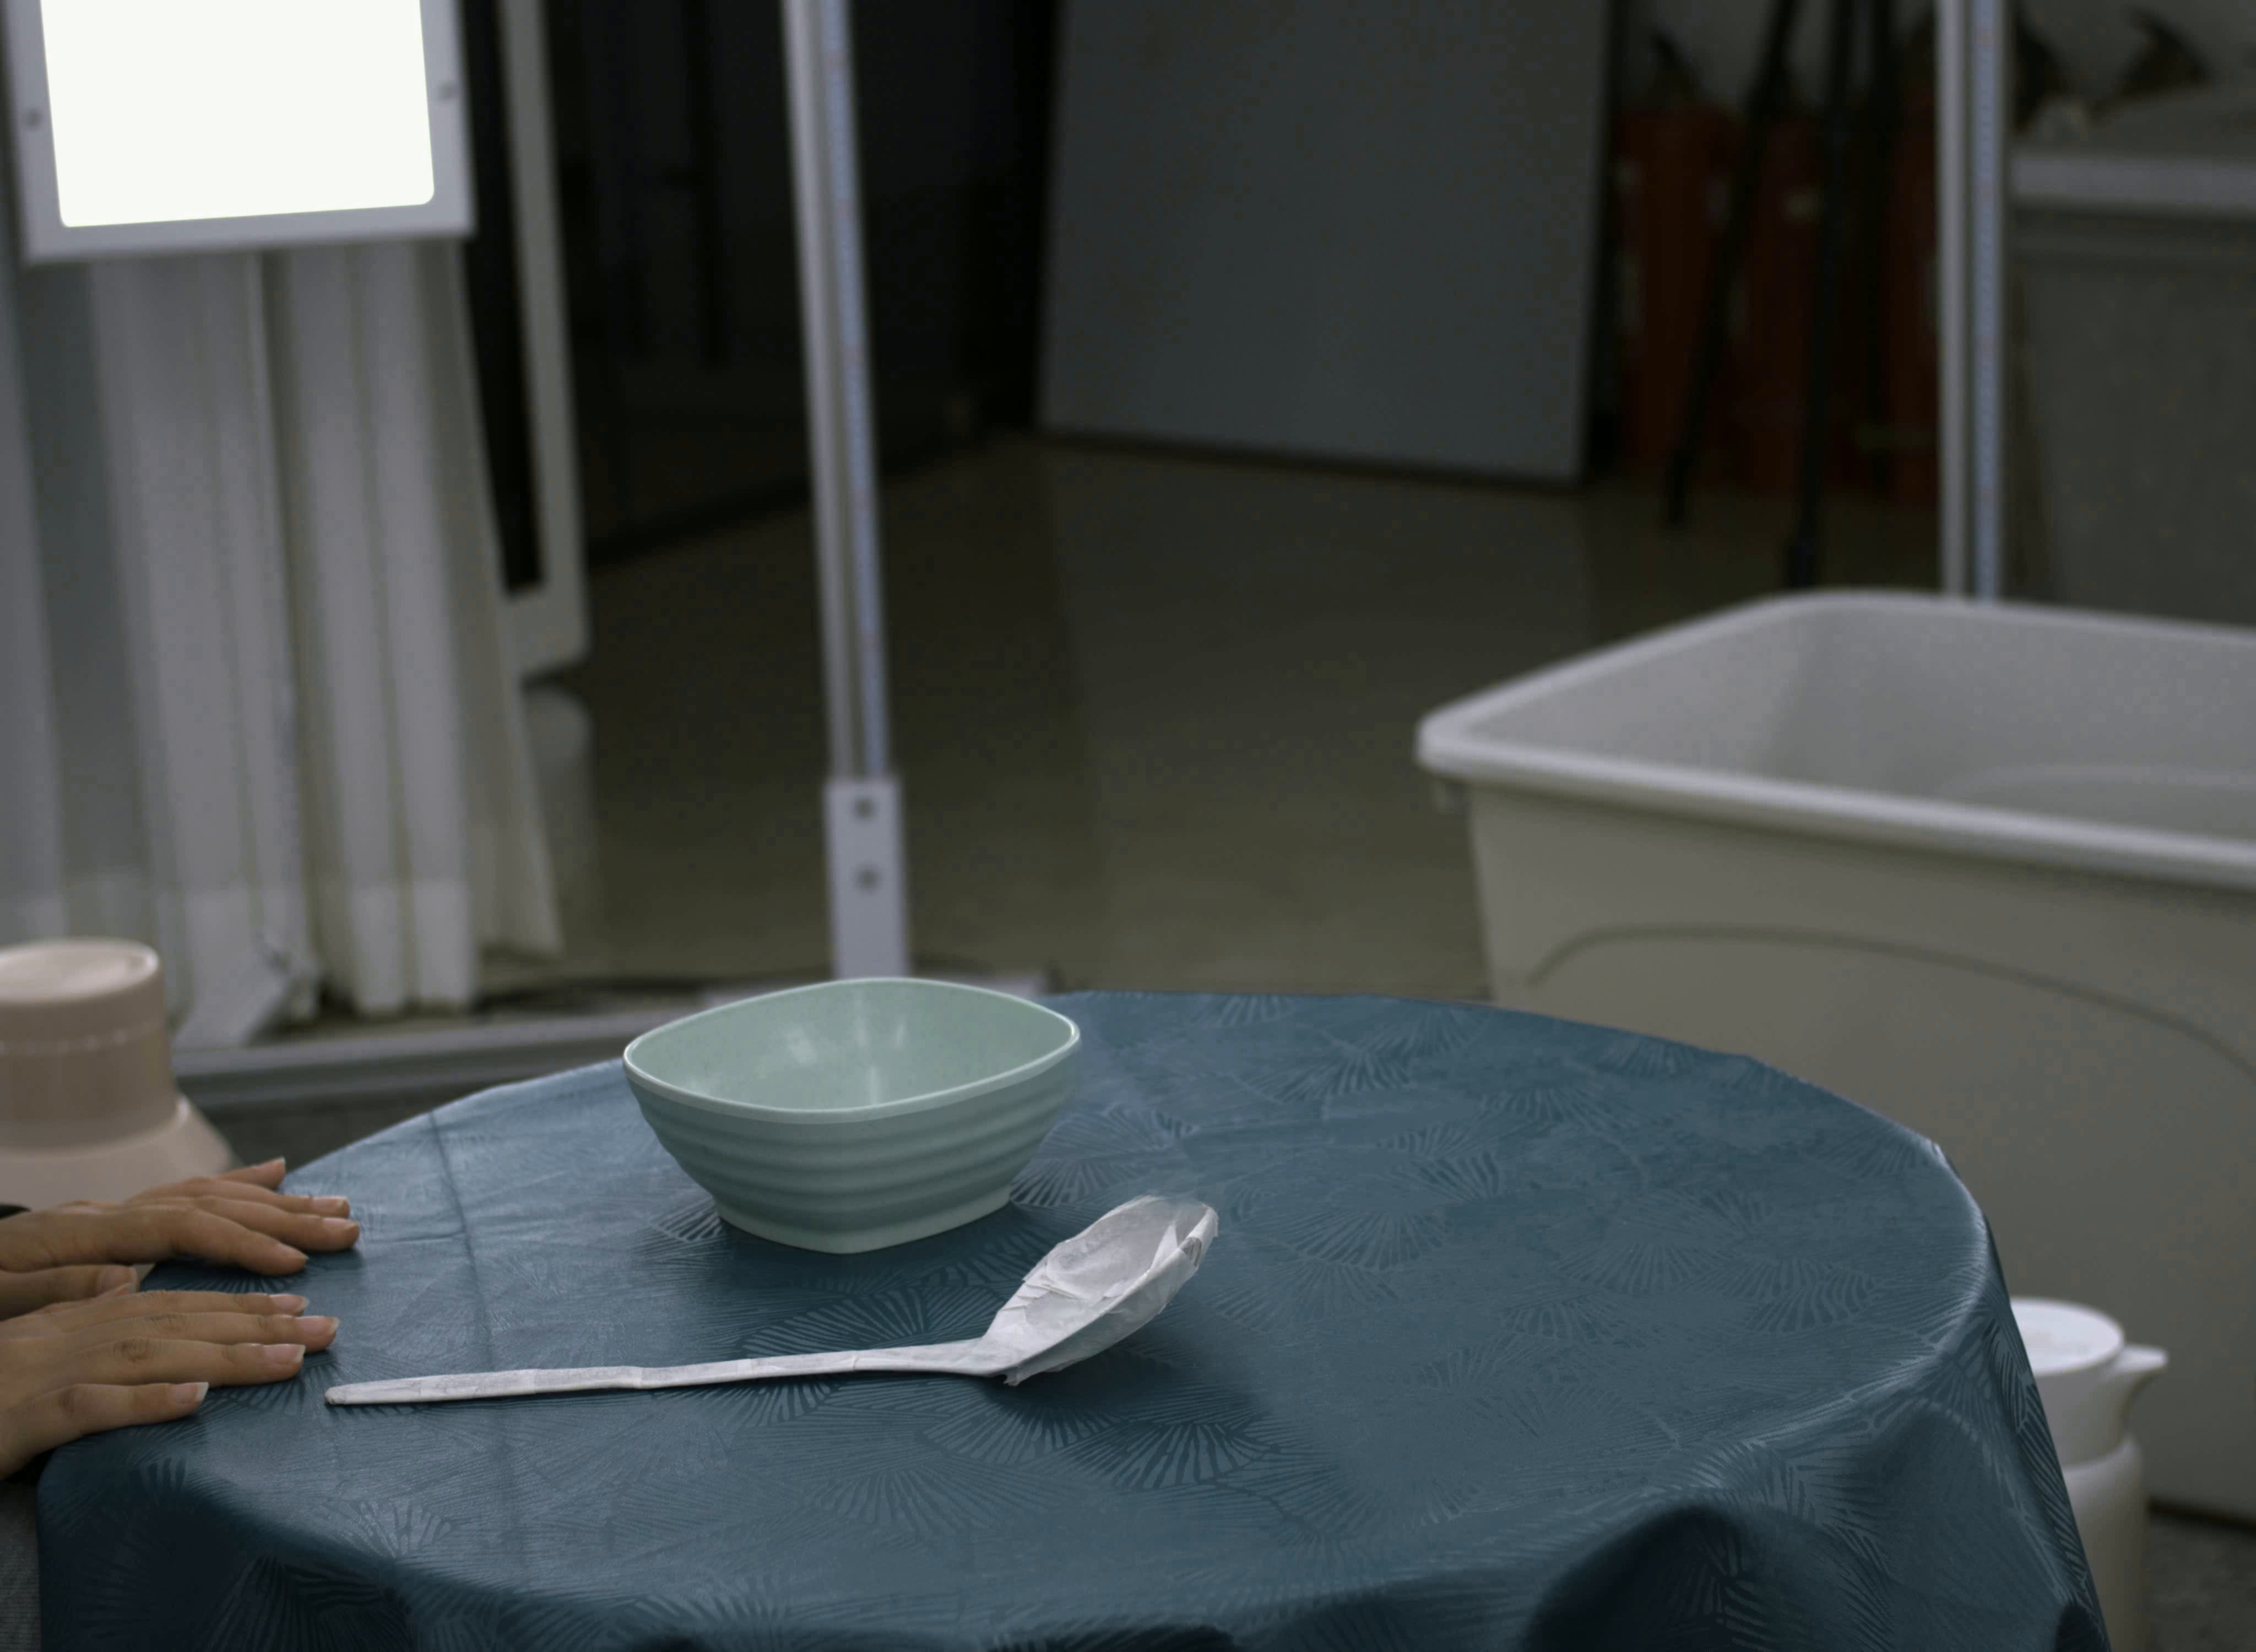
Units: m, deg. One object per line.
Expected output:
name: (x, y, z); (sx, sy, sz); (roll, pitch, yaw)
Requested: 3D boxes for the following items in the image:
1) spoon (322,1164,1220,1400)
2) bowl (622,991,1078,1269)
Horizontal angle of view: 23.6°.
spoon: (-0.107, 0.136, 1.620); (0.275, 0.060, 0.100); (-3, 9, 6)
bowl: (-0.089, 0.102, 1.766); (0.149, 0.059, 0.152); (-4, 13, 0)
